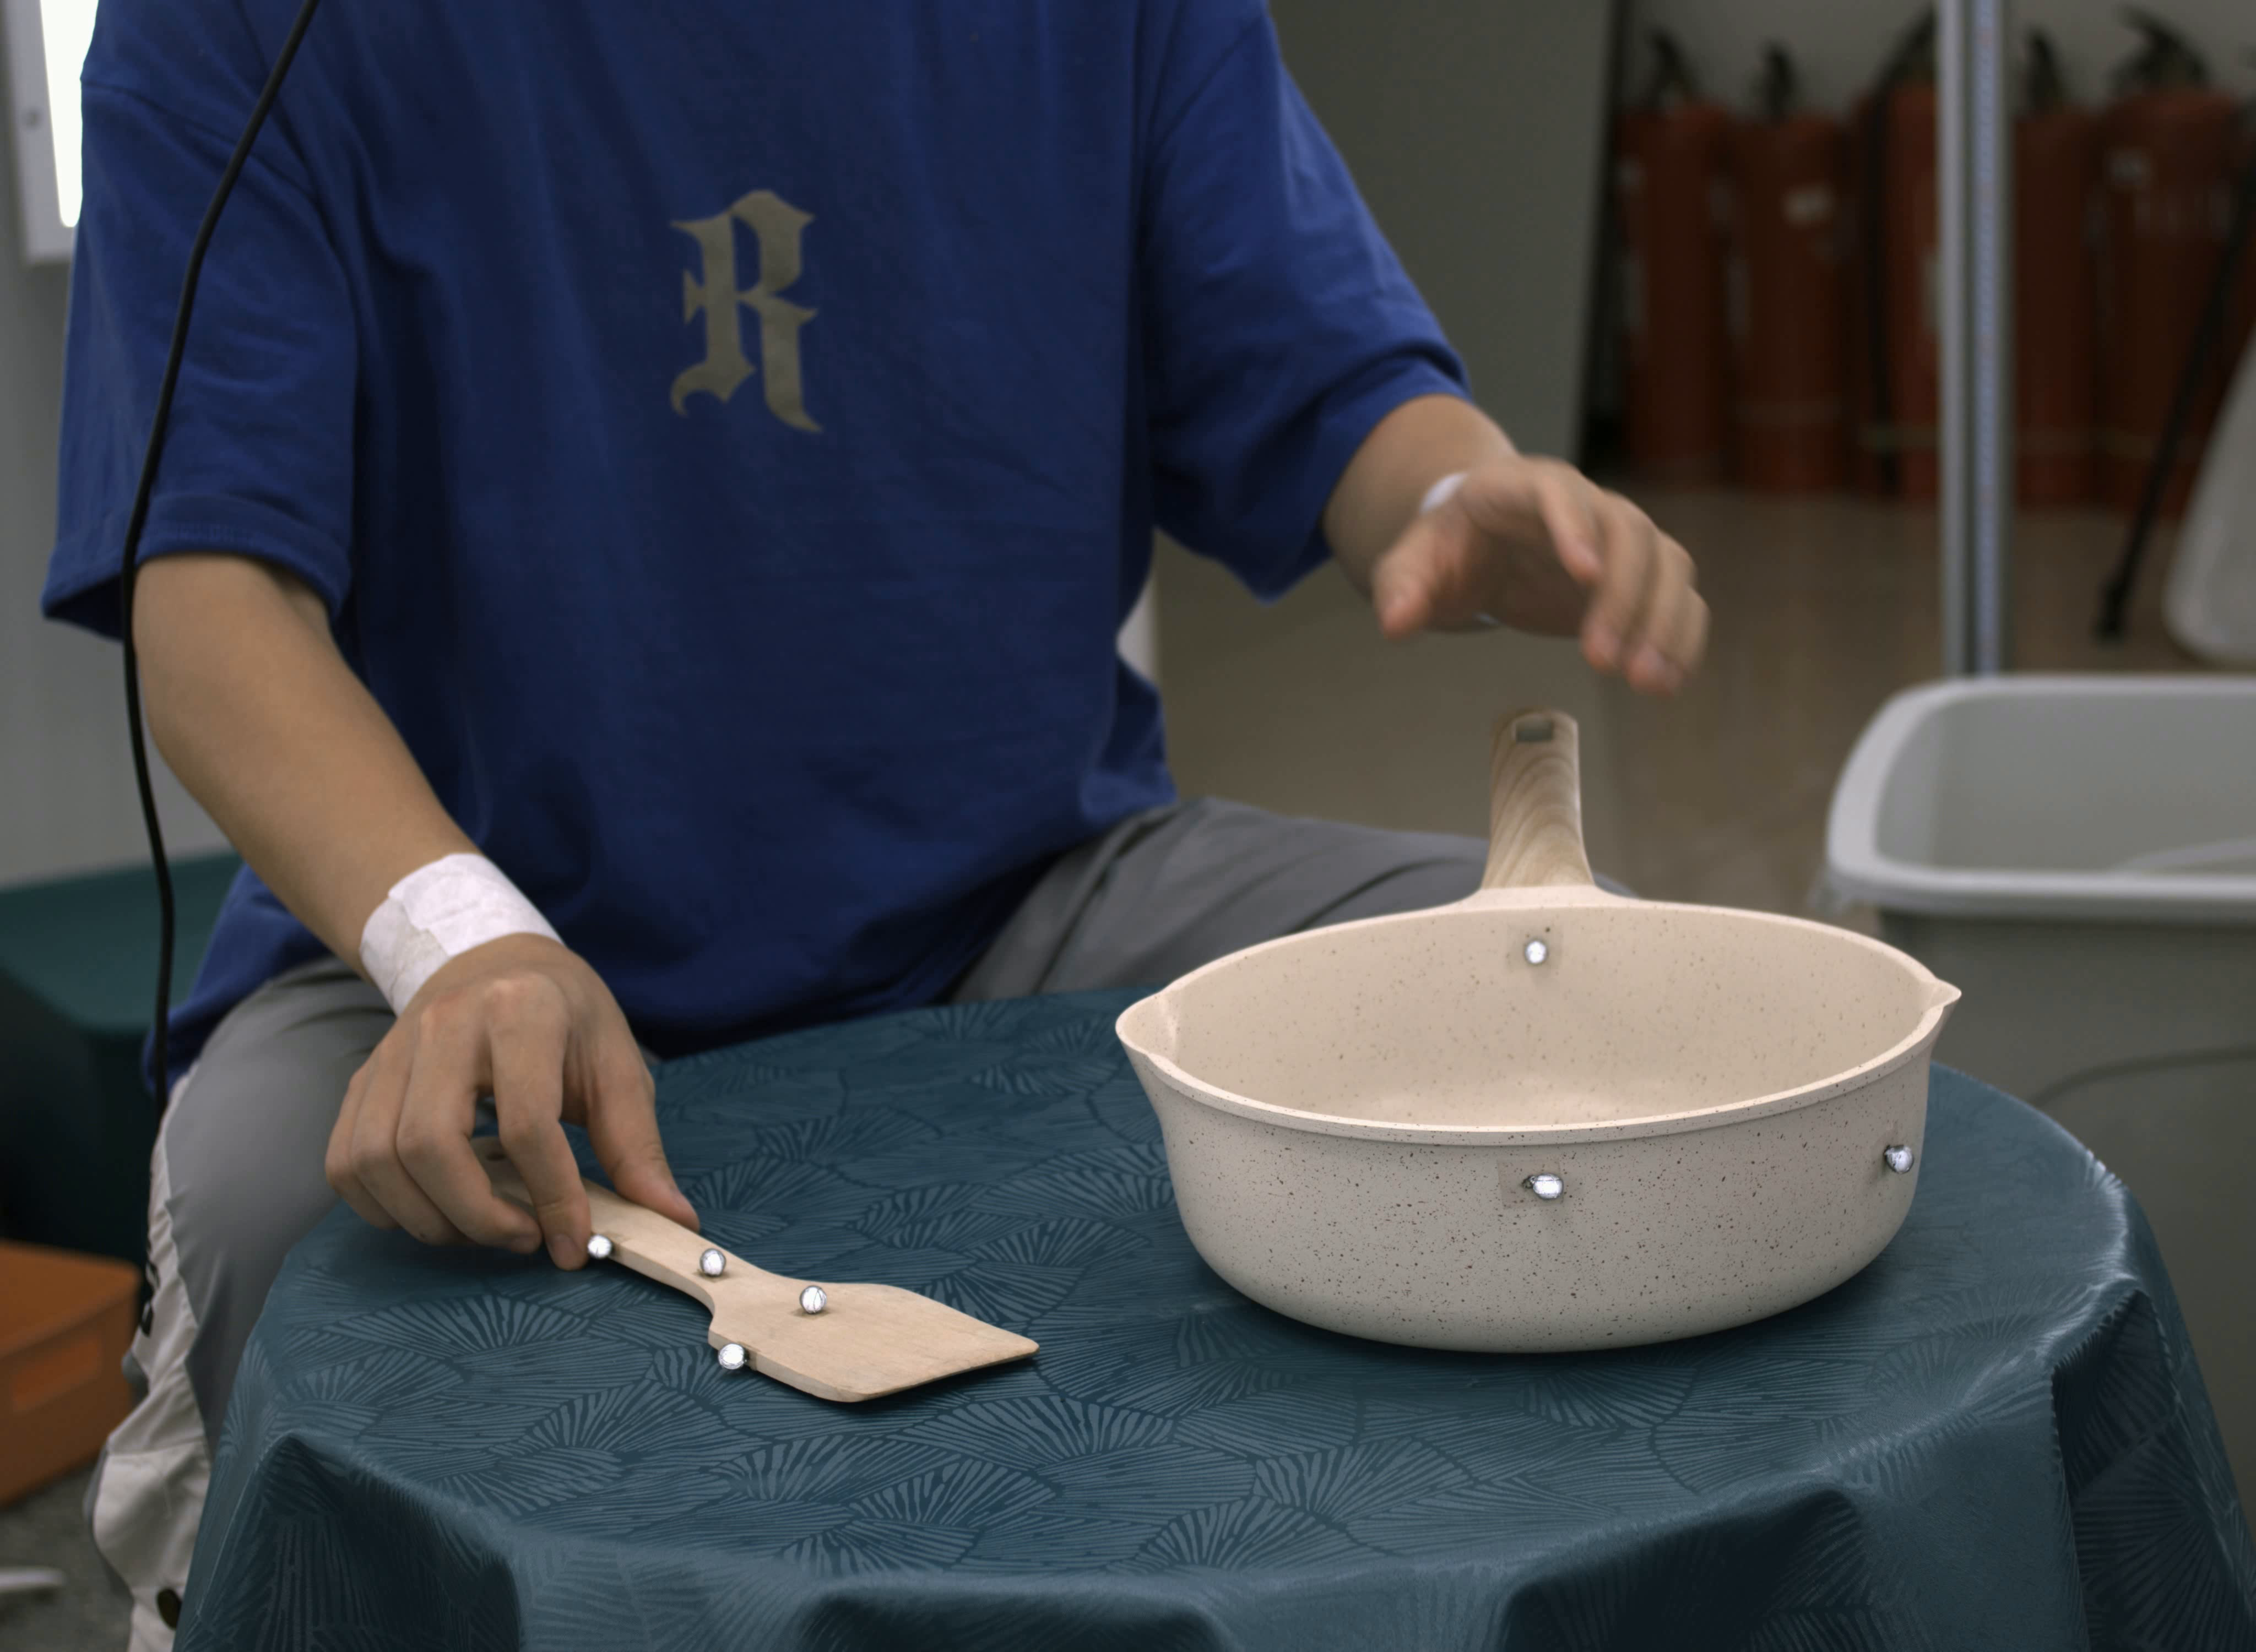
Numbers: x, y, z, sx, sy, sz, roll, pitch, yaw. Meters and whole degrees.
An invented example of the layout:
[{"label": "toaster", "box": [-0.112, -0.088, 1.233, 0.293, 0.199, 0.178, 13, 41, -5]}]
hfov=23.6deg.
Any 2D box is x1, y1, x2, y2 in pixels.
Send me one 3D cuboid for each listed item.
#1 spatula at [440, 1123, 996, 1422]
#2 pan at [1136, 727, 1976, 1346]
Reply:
[{"label": "spatula", "box": [-0.145, 0.138, 1.711, 0.070, 0.011, 0.296, -12, 19, -31]}, {"label": "pan", "box": [0.139, 0.064, 1.758, 0.260, 0.103, 0.434, -5, 13, 4]}]
